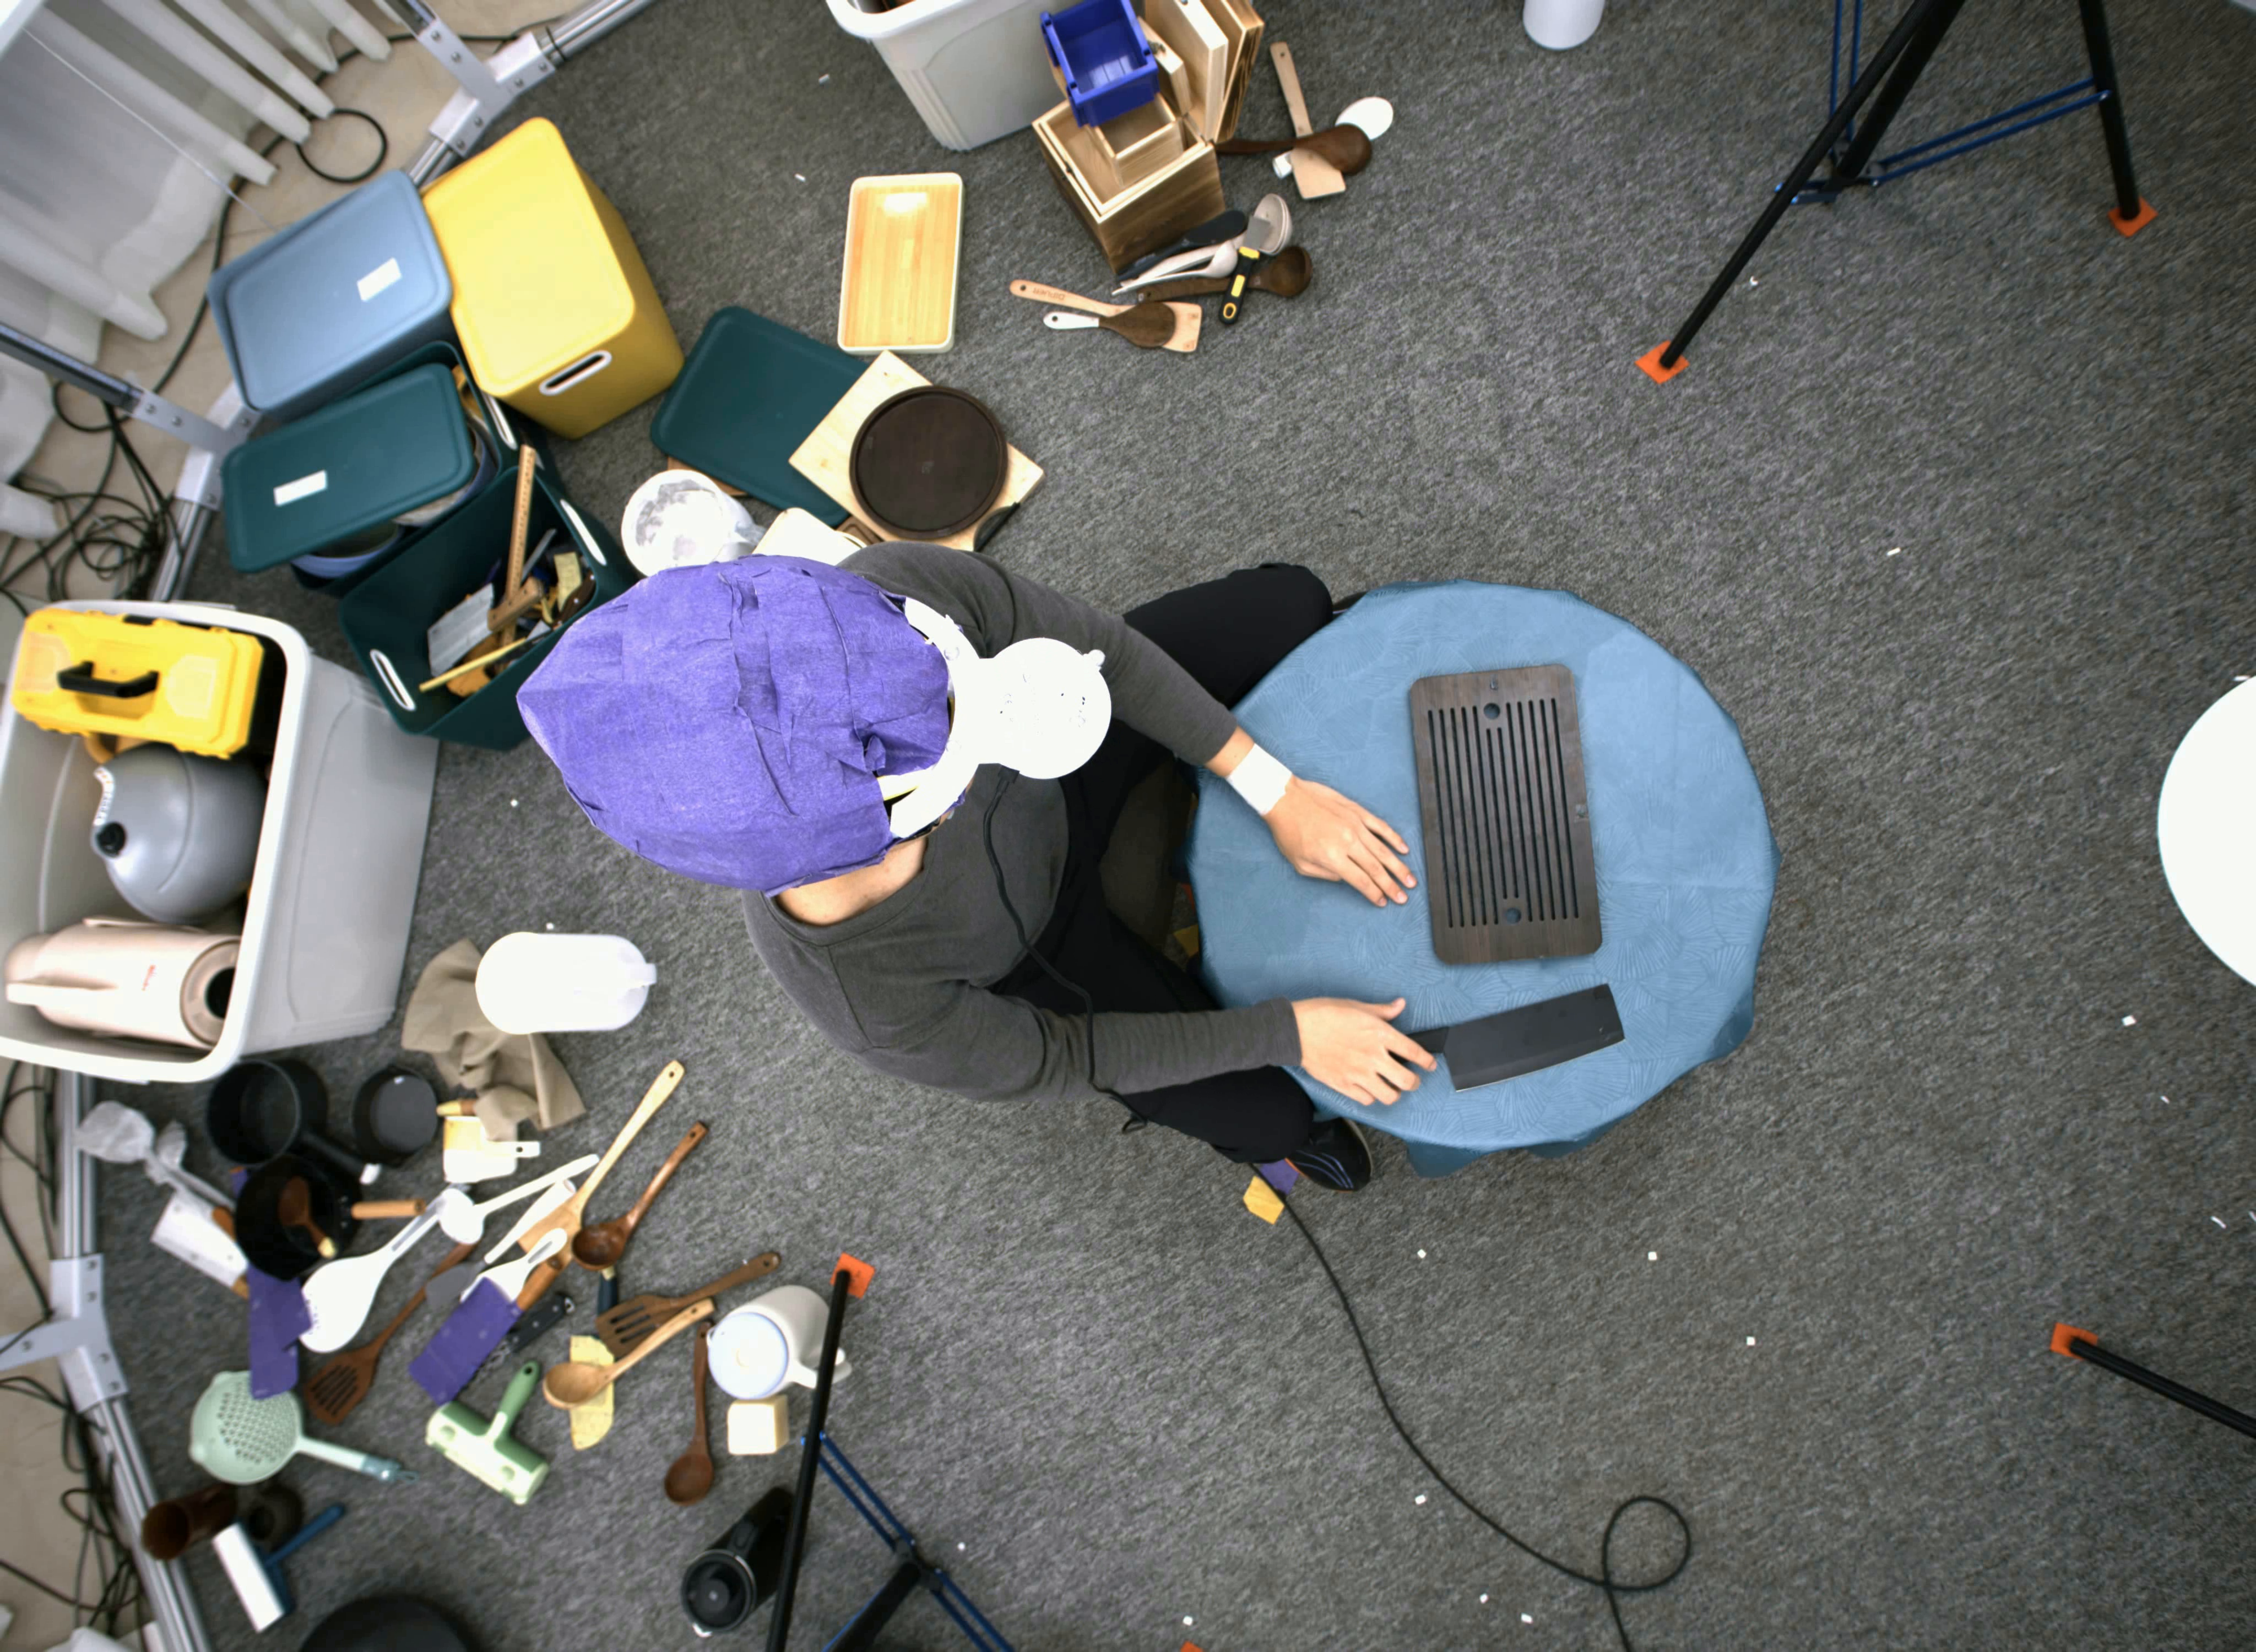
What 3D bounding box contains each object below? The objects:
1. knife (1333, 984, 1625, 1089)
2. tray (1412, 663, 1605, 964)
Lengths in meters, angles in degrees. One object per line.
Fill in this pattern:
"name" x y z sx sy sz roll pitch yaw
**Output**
"knife" 0.359 0.228 1.428 0.304 0.021 0.080 -12 86 8
"tray" 0.395 -0.016 1.432 0.171 0.018 0.304 -5 86 11
